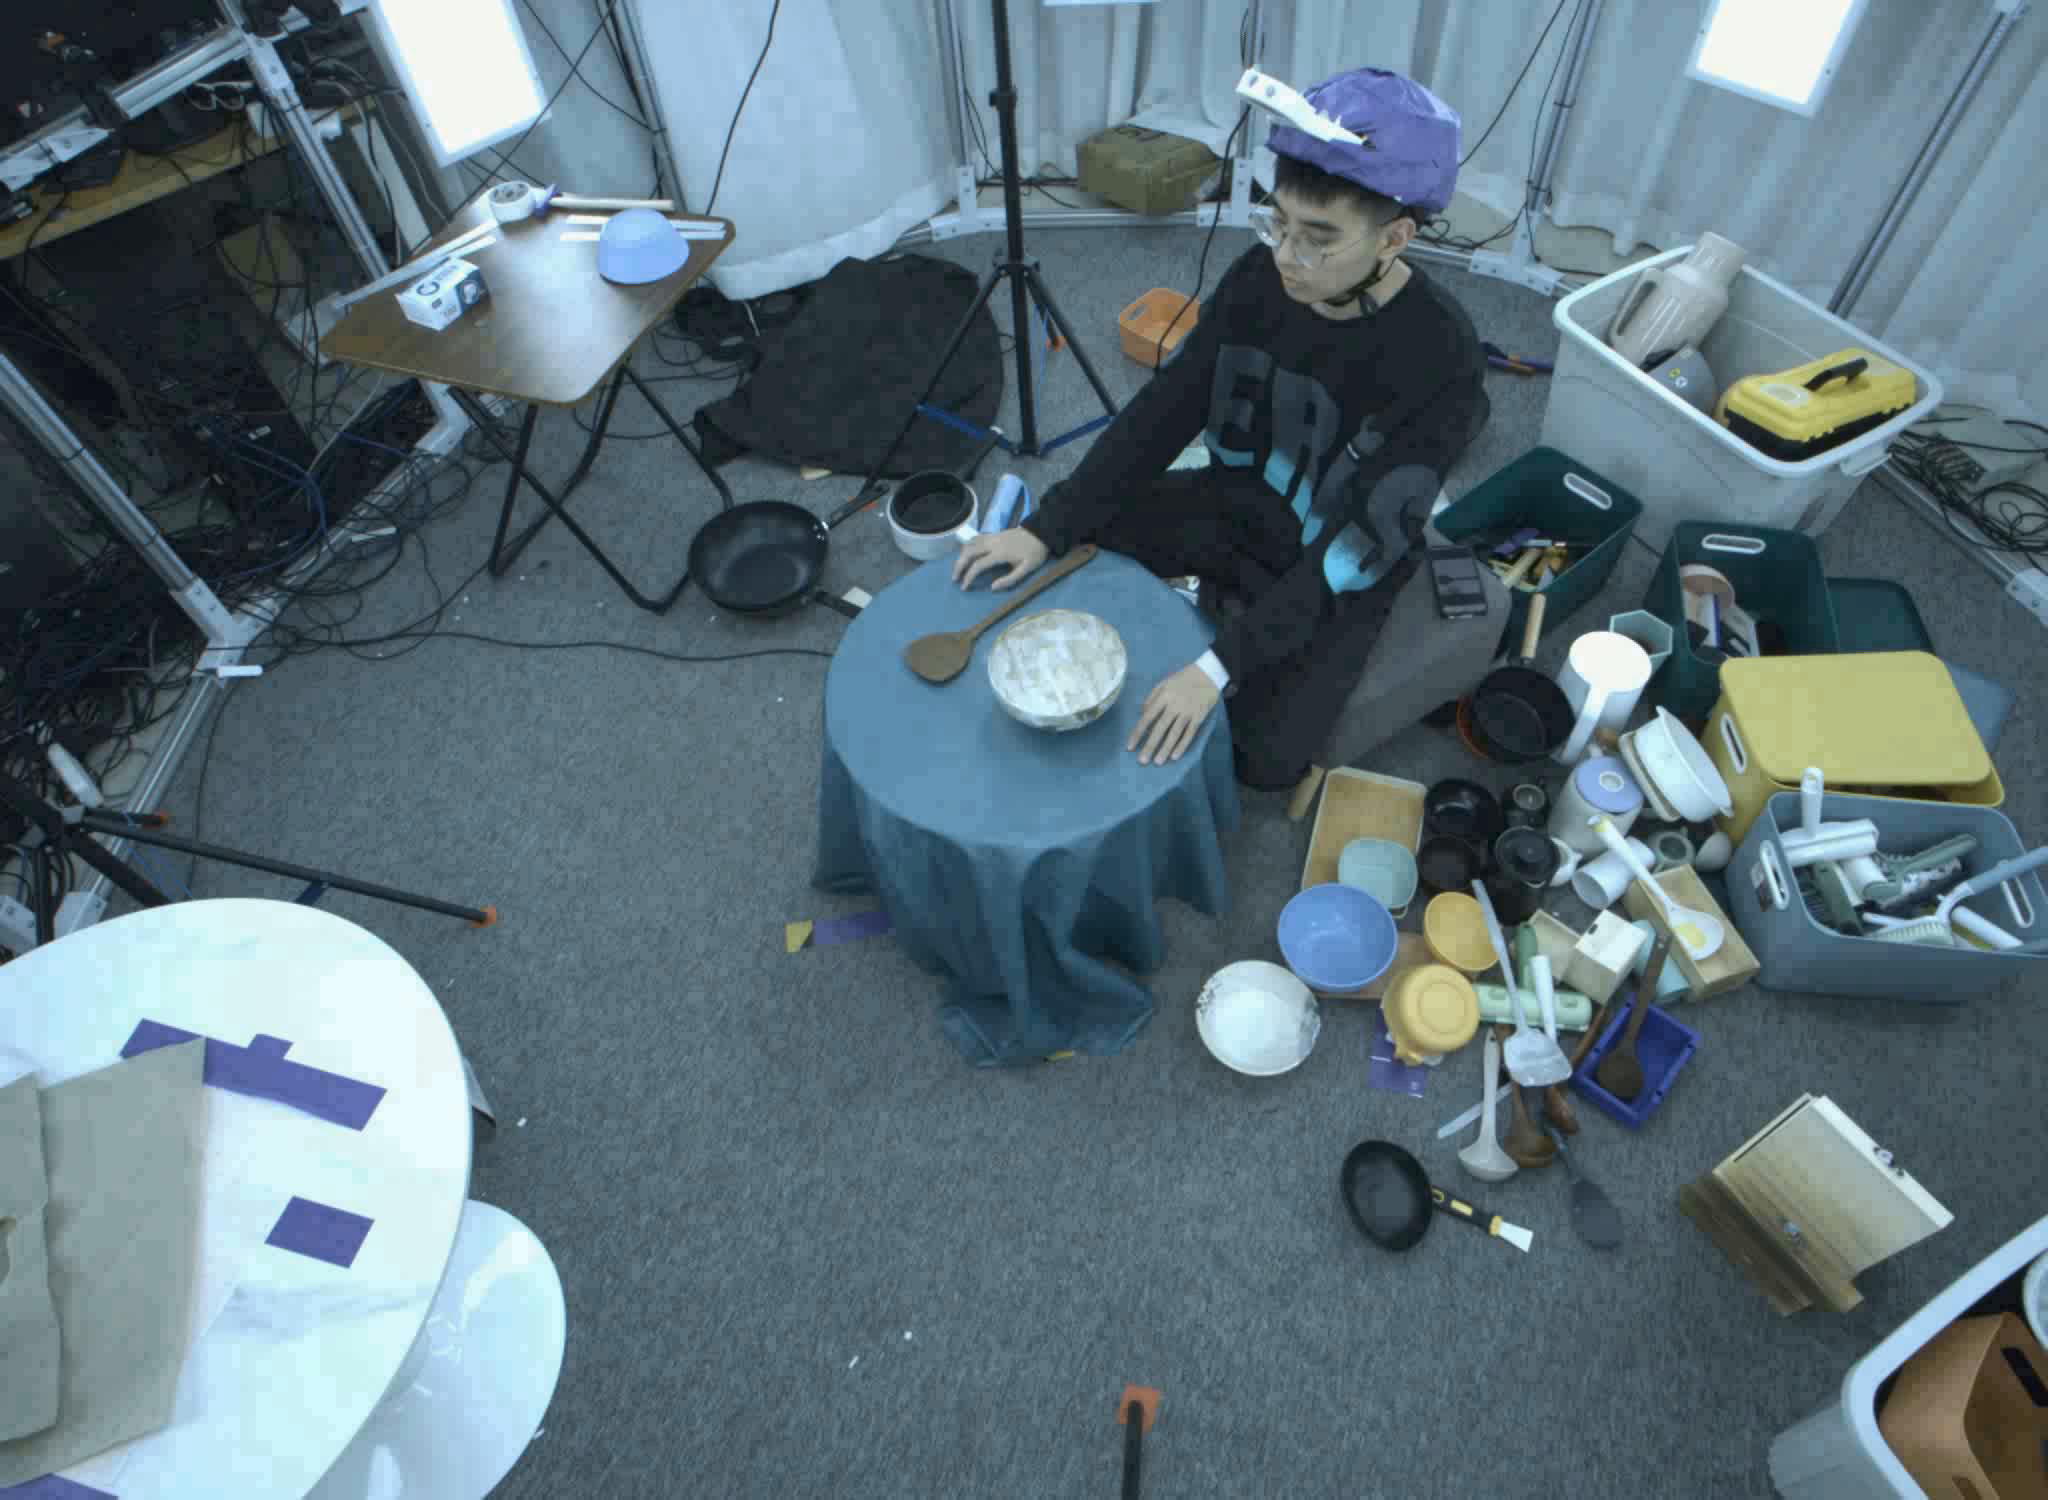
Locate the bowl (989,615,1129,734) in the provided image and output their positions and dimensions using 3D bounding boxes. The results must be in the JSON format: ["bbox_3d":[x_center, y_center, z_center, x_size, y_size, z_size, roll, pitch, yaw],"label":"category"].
[{"bbox_3d":[0.056,-0.098,1.808,0.214,0.095,0.212,-1,53,2],"label":"bowl"}]

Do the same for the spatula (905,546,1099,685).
[{"bbox_3d":[-0.023,-0.225,1.948,0.389,0.016,0.094,-38,63,-23],"label":"spatula"}]
